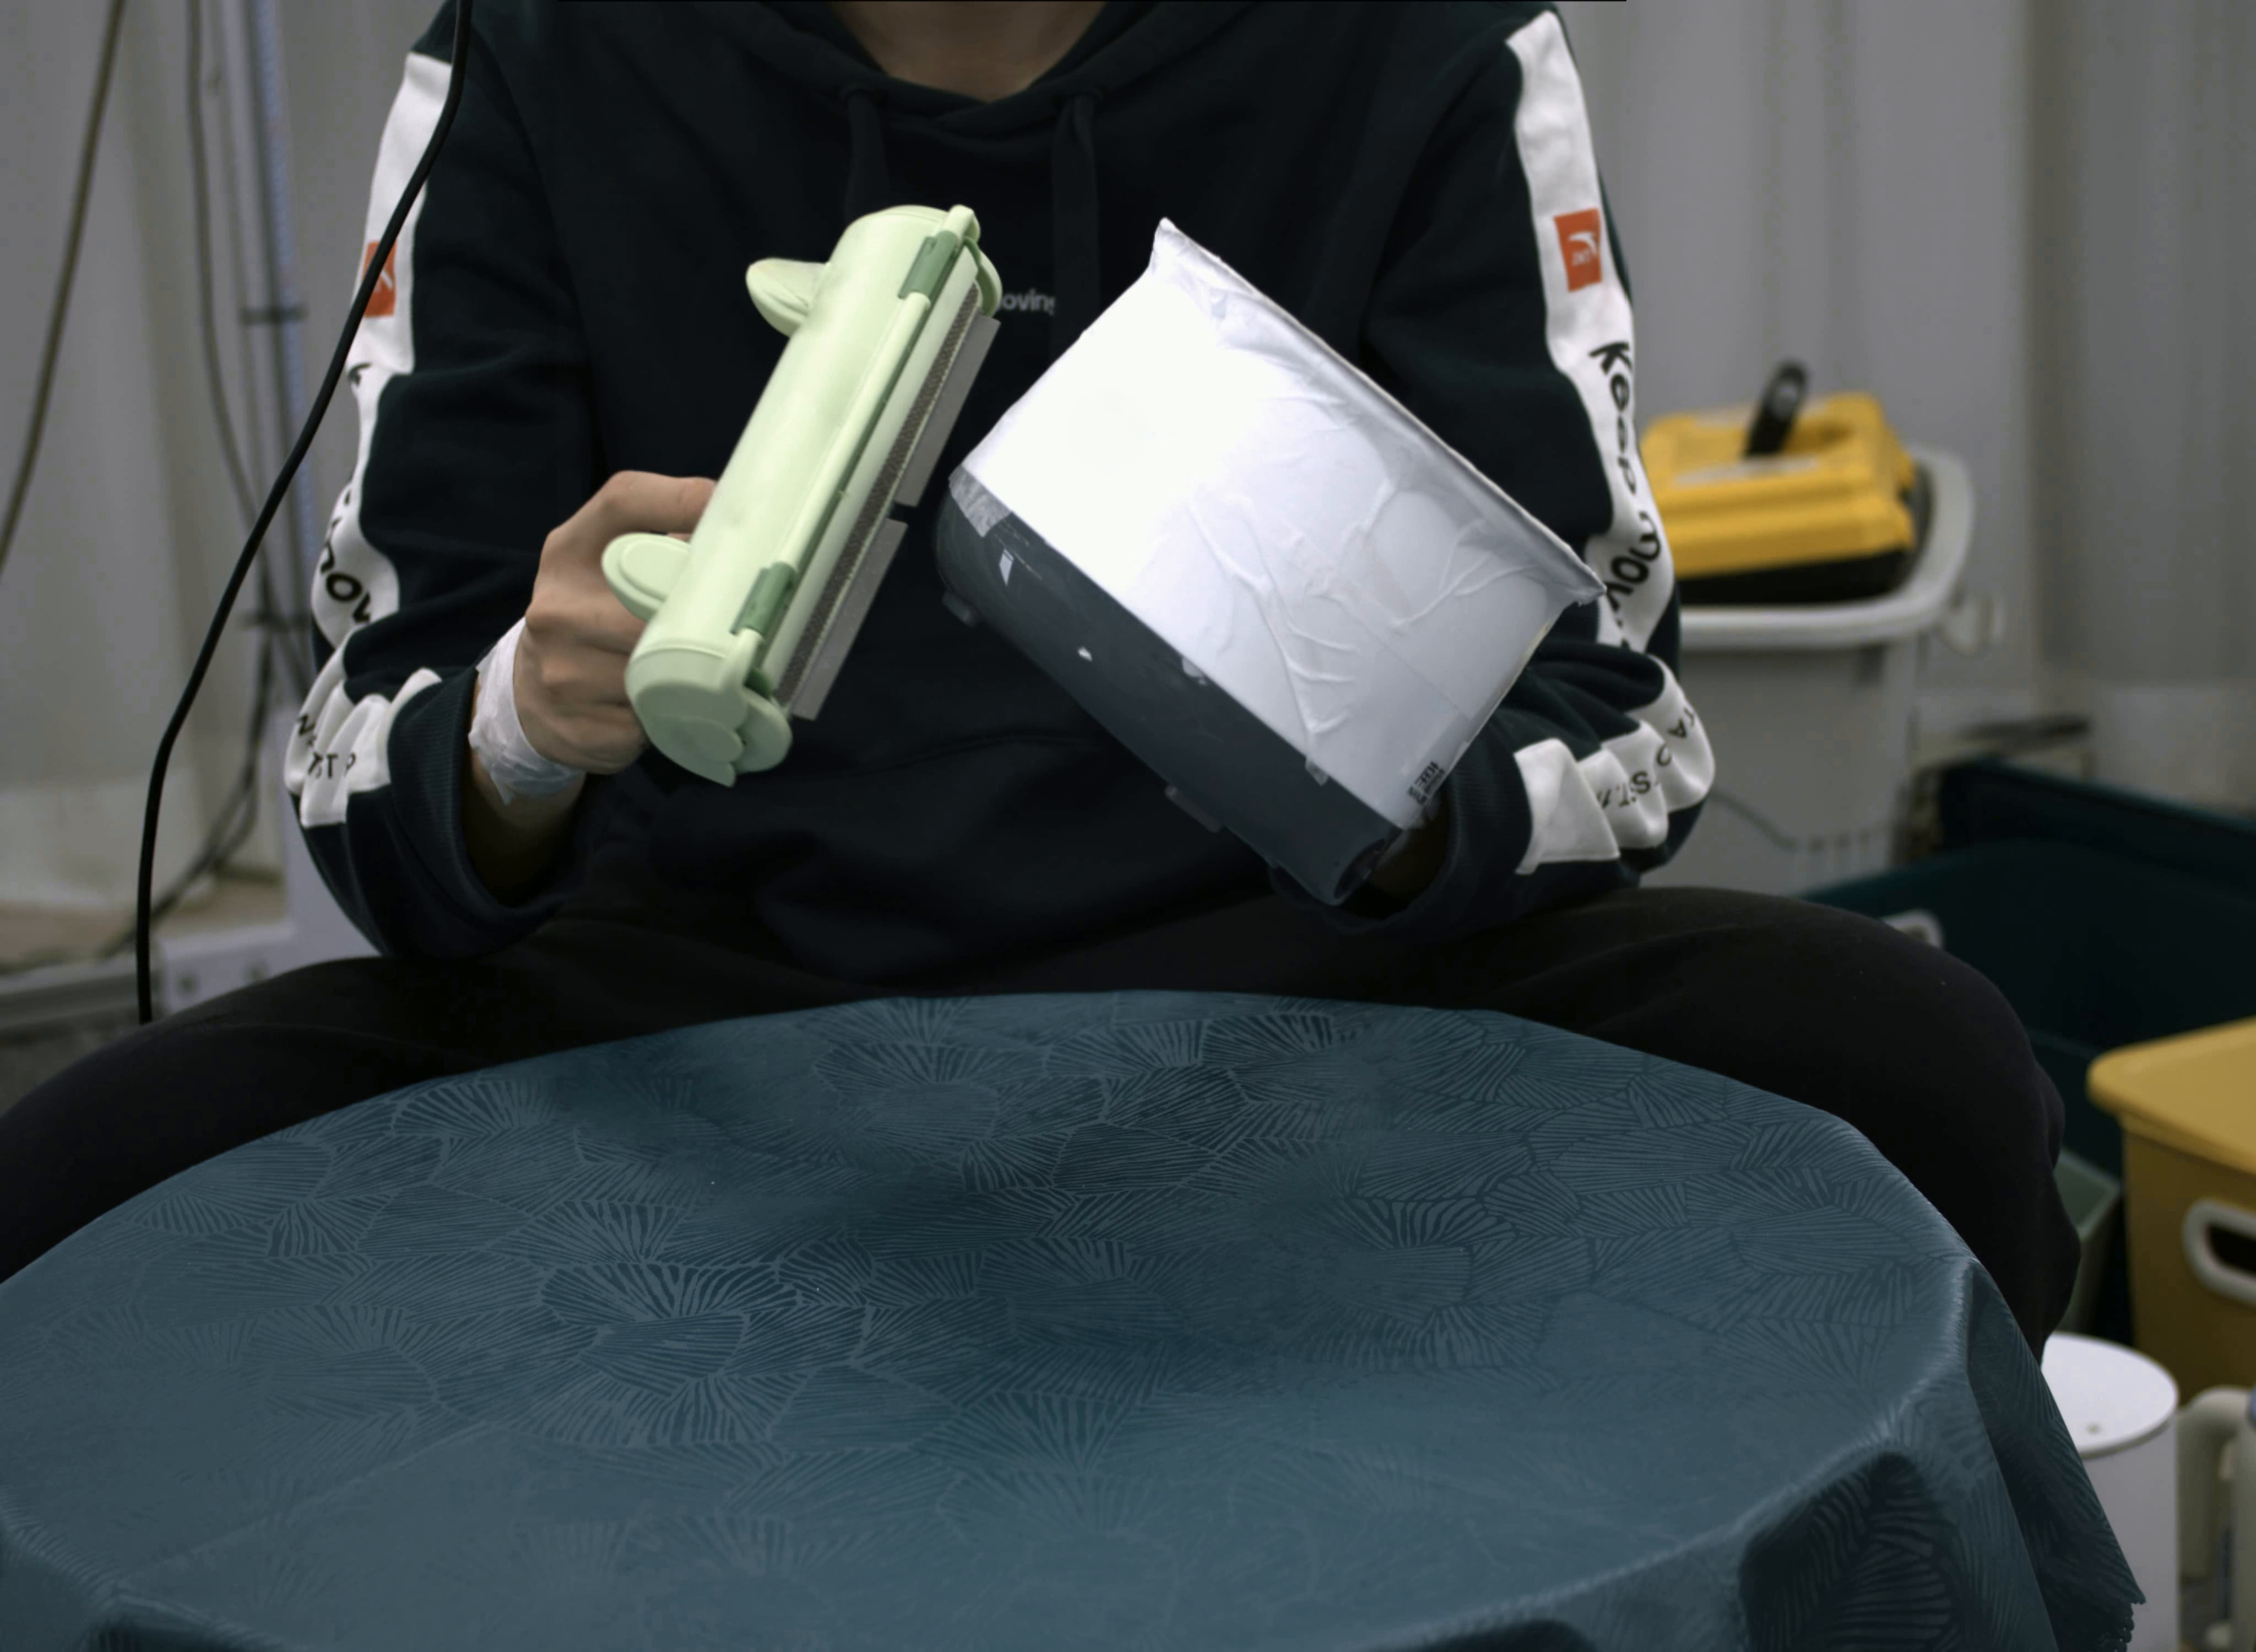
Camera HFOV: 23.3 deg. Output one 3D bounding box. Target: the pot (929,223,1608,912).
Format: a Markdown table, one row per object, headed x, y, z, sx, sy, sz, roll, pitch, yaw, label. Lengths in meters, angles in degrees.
| x | y | z | sx | sy | sz | roll | pitch | yaw | label |
| --- | --- | --- | --- | --- | --- | --- | --- | --- | --- |
| 0.044 | -0.075 | 1.699 | 0.180 | 0.136 | 0.232 | 41 | 4 | 15 | pot |

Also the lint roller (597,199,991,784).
| x | y | z | sx | sy | sz | roll | pitch | yaw | label |
| --- | --- | --- | --- | --- | --- | --- | --- | --- | --- |
| -0.134 | -0.094 | 1.705 | 0.183 | 0.081 | 0.201 | -24 | 35 | 49 | lint roller |
